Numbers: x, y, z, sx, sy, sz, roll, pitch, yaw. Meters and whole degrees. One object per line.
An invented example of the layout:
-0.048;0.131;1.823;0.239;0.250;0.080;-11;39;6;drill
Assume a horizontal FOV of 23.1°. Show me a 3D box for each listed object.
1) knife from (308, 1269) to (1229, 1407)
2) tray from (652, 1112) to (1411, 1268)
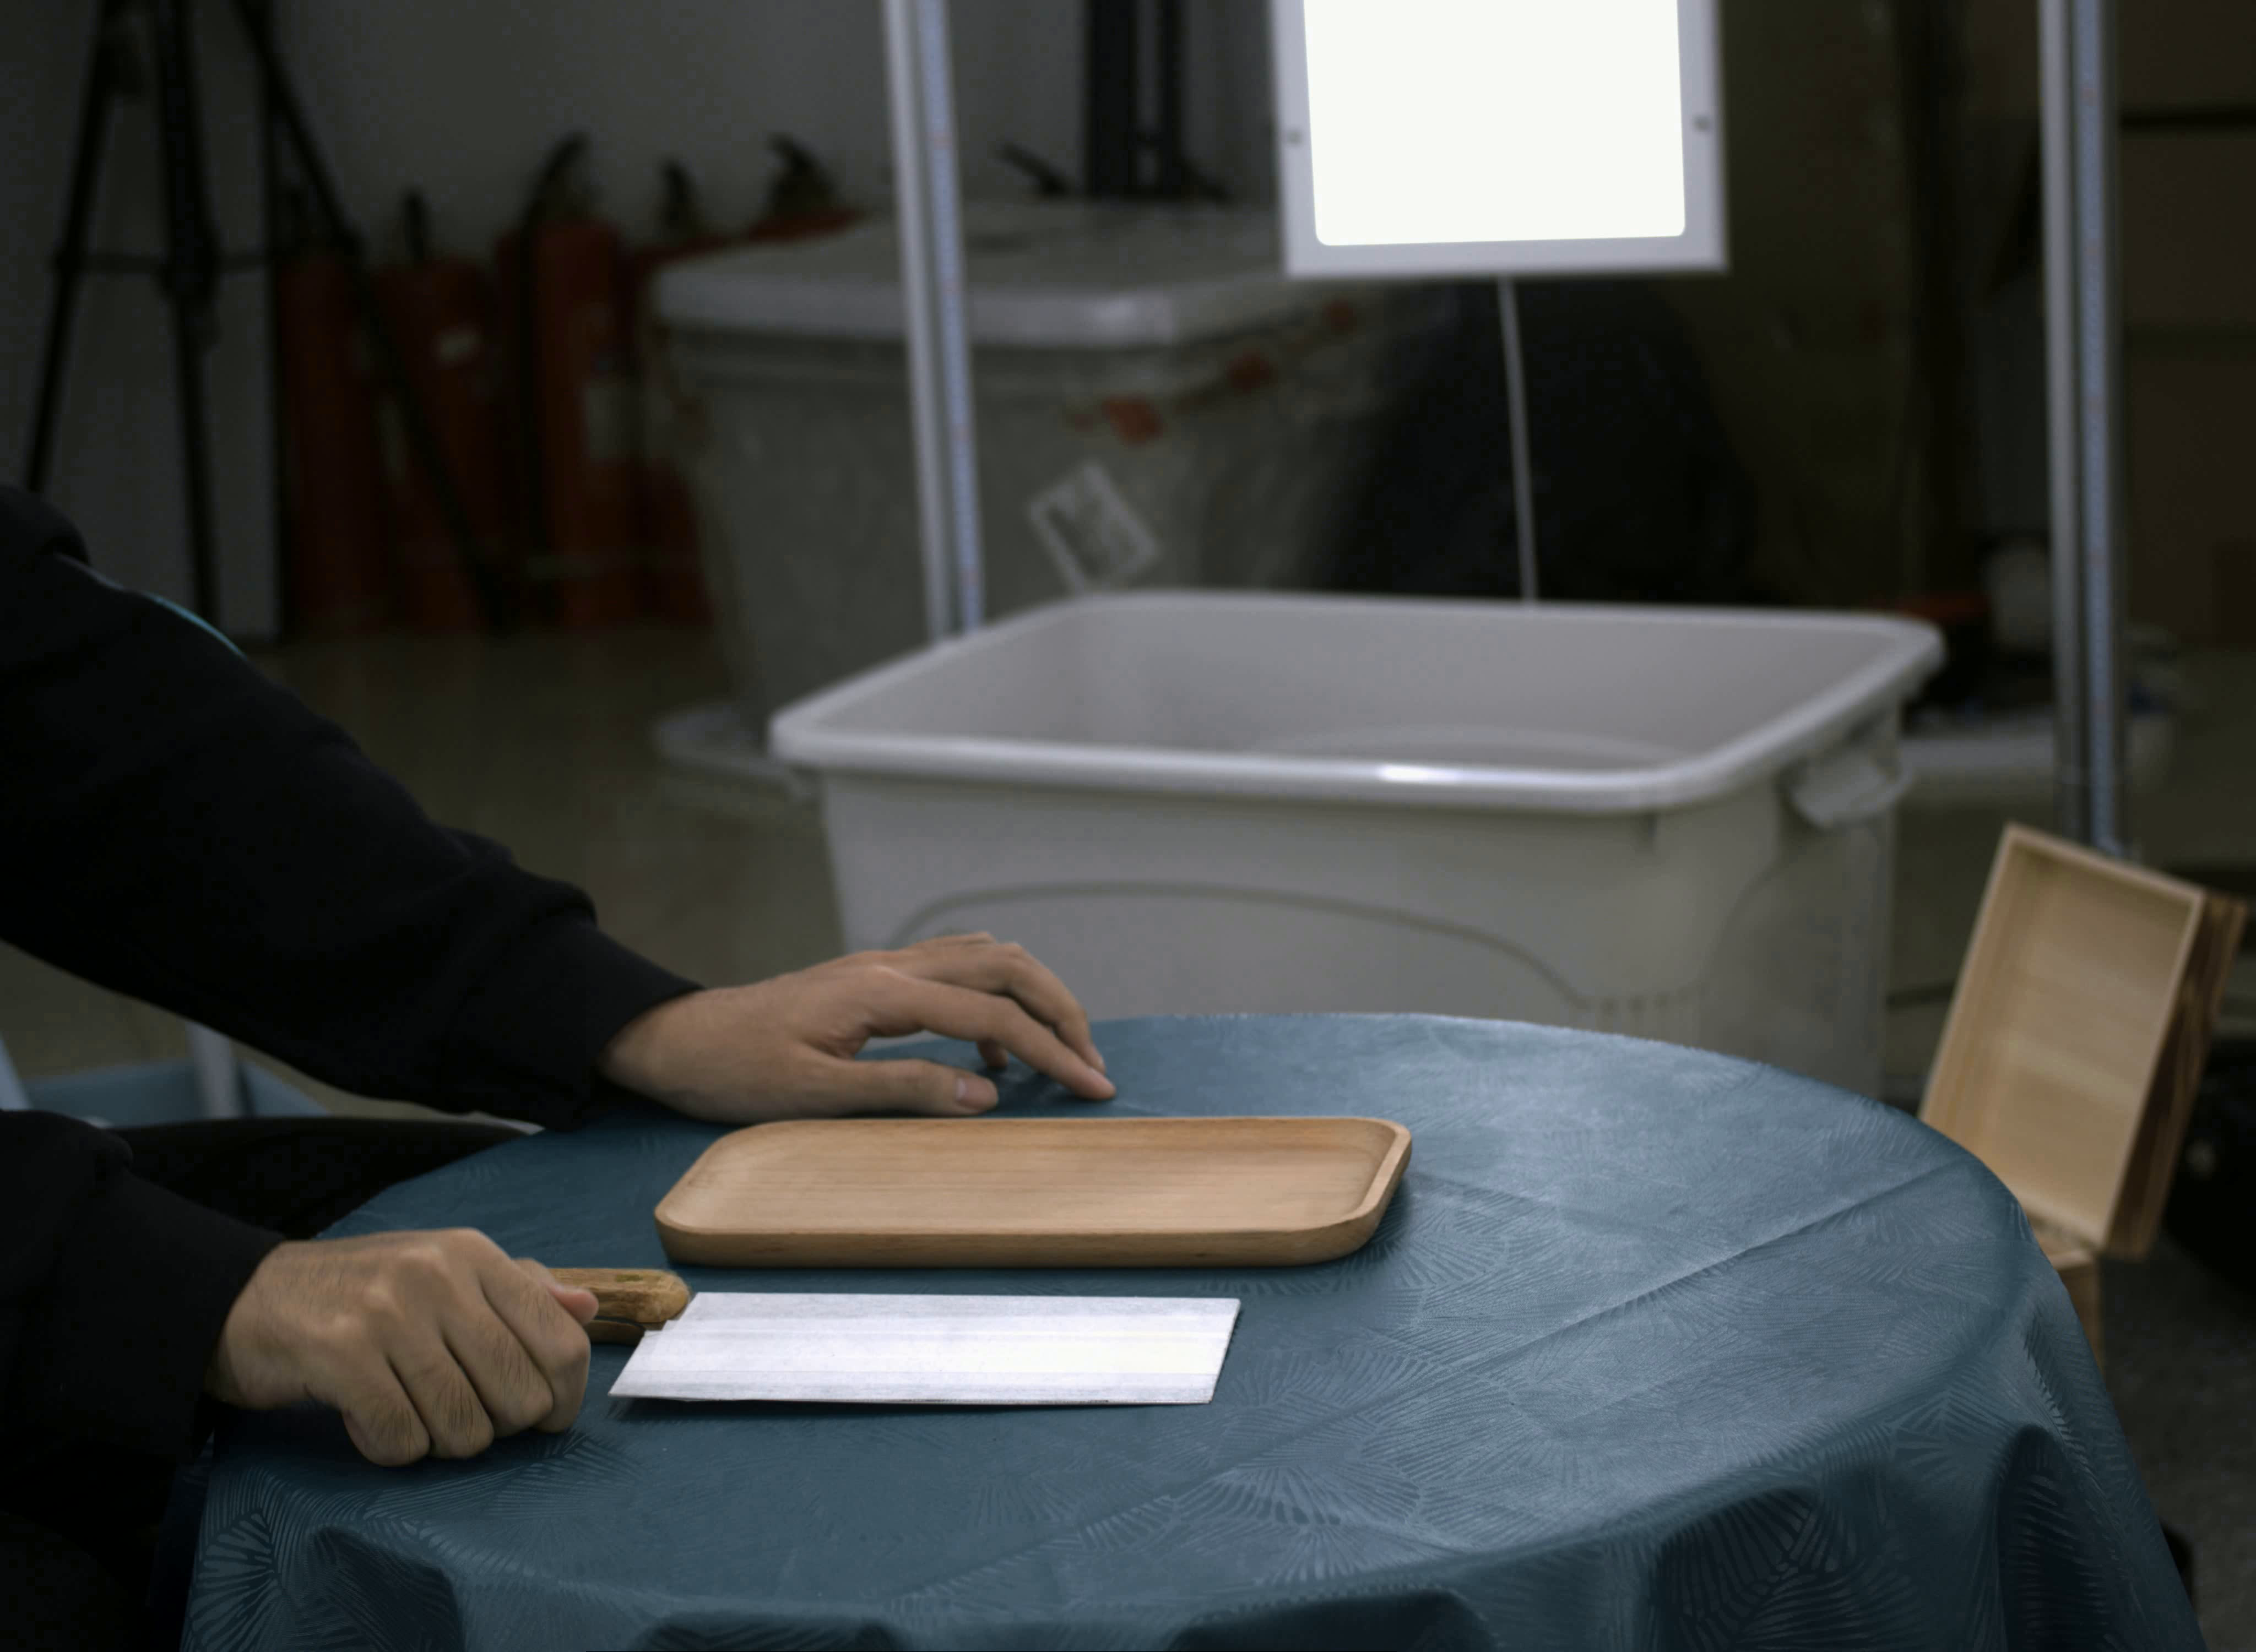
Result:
-0.119;0.165;1.754;0.307;0.021;0.092;0;16;10;knife
-0.032;0.125;1.883;0.253;0.023;0.128;-2;12;17;tray
